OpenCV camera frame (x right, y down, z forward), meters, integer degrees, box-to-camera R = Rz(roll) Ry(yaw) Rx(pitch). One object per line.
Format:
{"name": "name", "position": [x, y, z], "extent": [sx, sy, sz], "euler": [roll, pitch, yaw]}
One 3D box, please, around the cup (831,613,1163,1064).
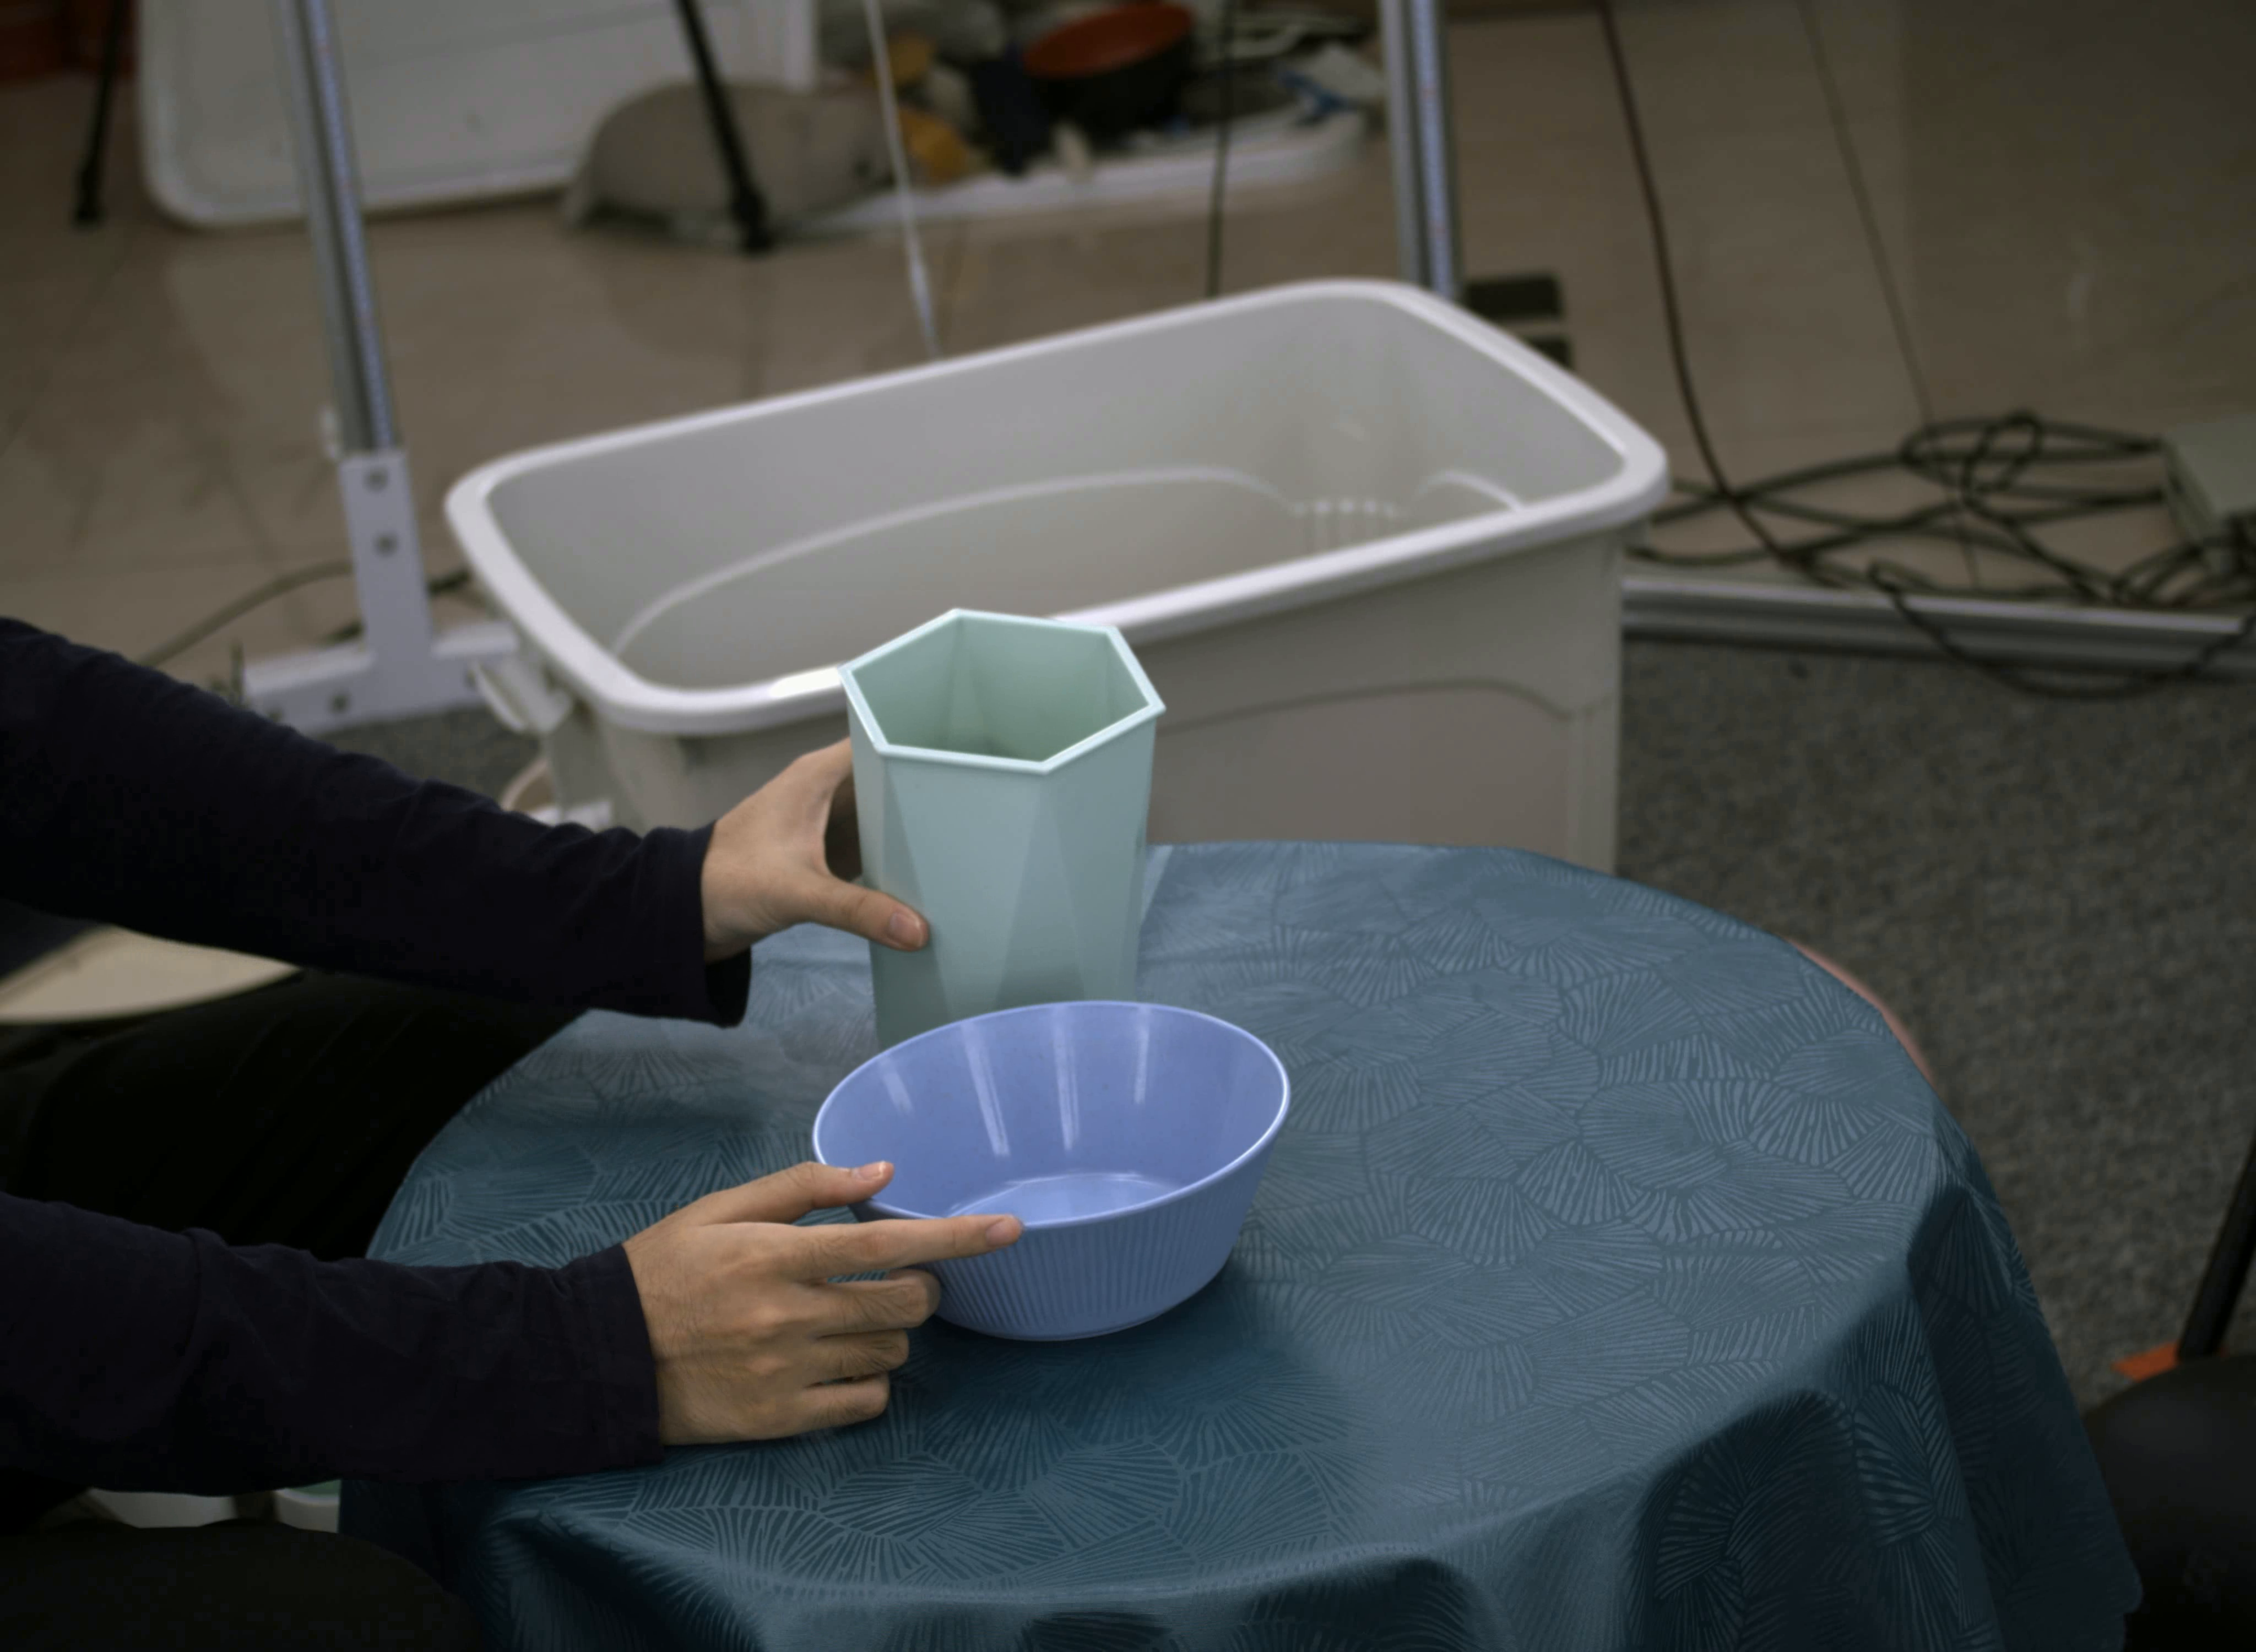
{"name": "cup", "position": [-0.047, 0.015, 2.213], "extent": [0.115, 0.166, 0.129], "euler": [-12, 32, -15]}

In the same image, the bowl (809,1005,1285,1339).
{"name": "bowl", "position": [-0.026, 0.133, 2.083], "extent": [0.176, 0.071, 0.173], "euler": [-6, 25, 3]}
